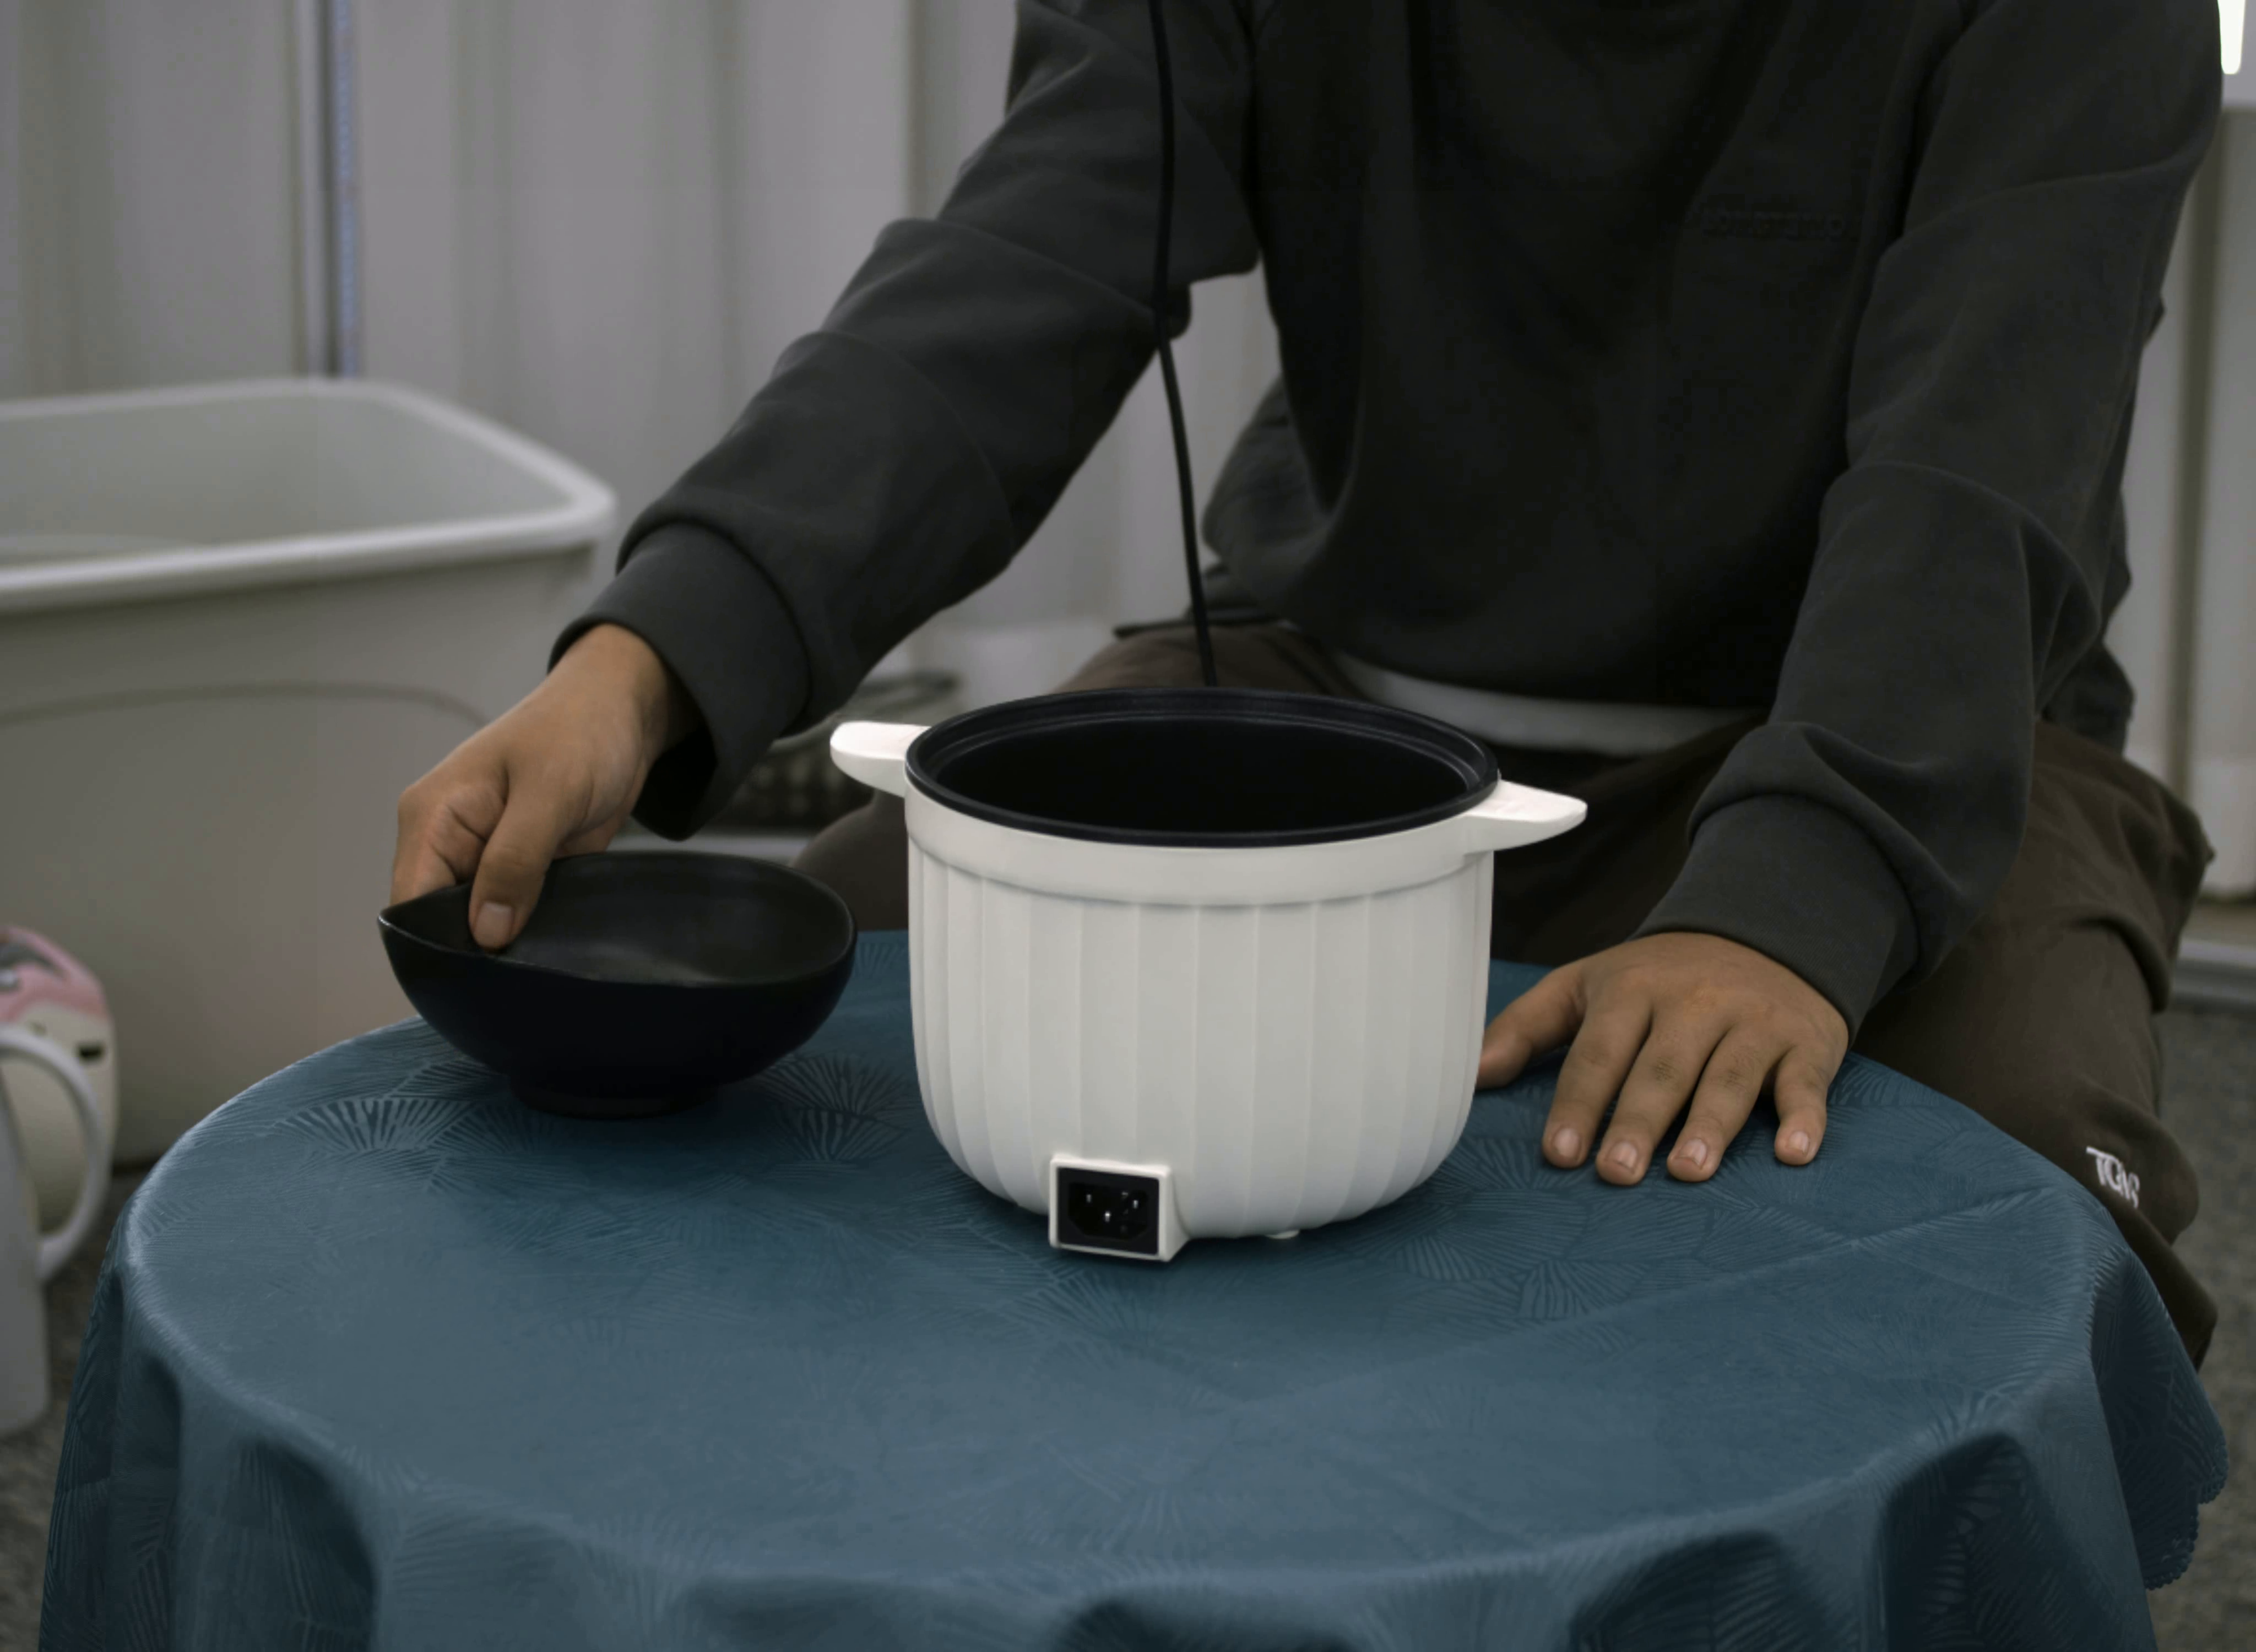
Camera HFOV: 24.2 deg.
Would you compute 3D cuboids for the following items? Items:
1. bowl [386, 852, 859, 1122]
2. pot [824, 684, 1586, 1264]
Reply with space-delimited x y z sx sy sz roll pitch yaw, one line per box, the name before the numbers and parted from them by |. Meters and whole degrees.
bowl | -0.165 0.056 1.702 0.168 0.067 0.138 10 18 34
pot | 0.022 0.042 1.624 0.238 0.144 0.190 7 20 16
